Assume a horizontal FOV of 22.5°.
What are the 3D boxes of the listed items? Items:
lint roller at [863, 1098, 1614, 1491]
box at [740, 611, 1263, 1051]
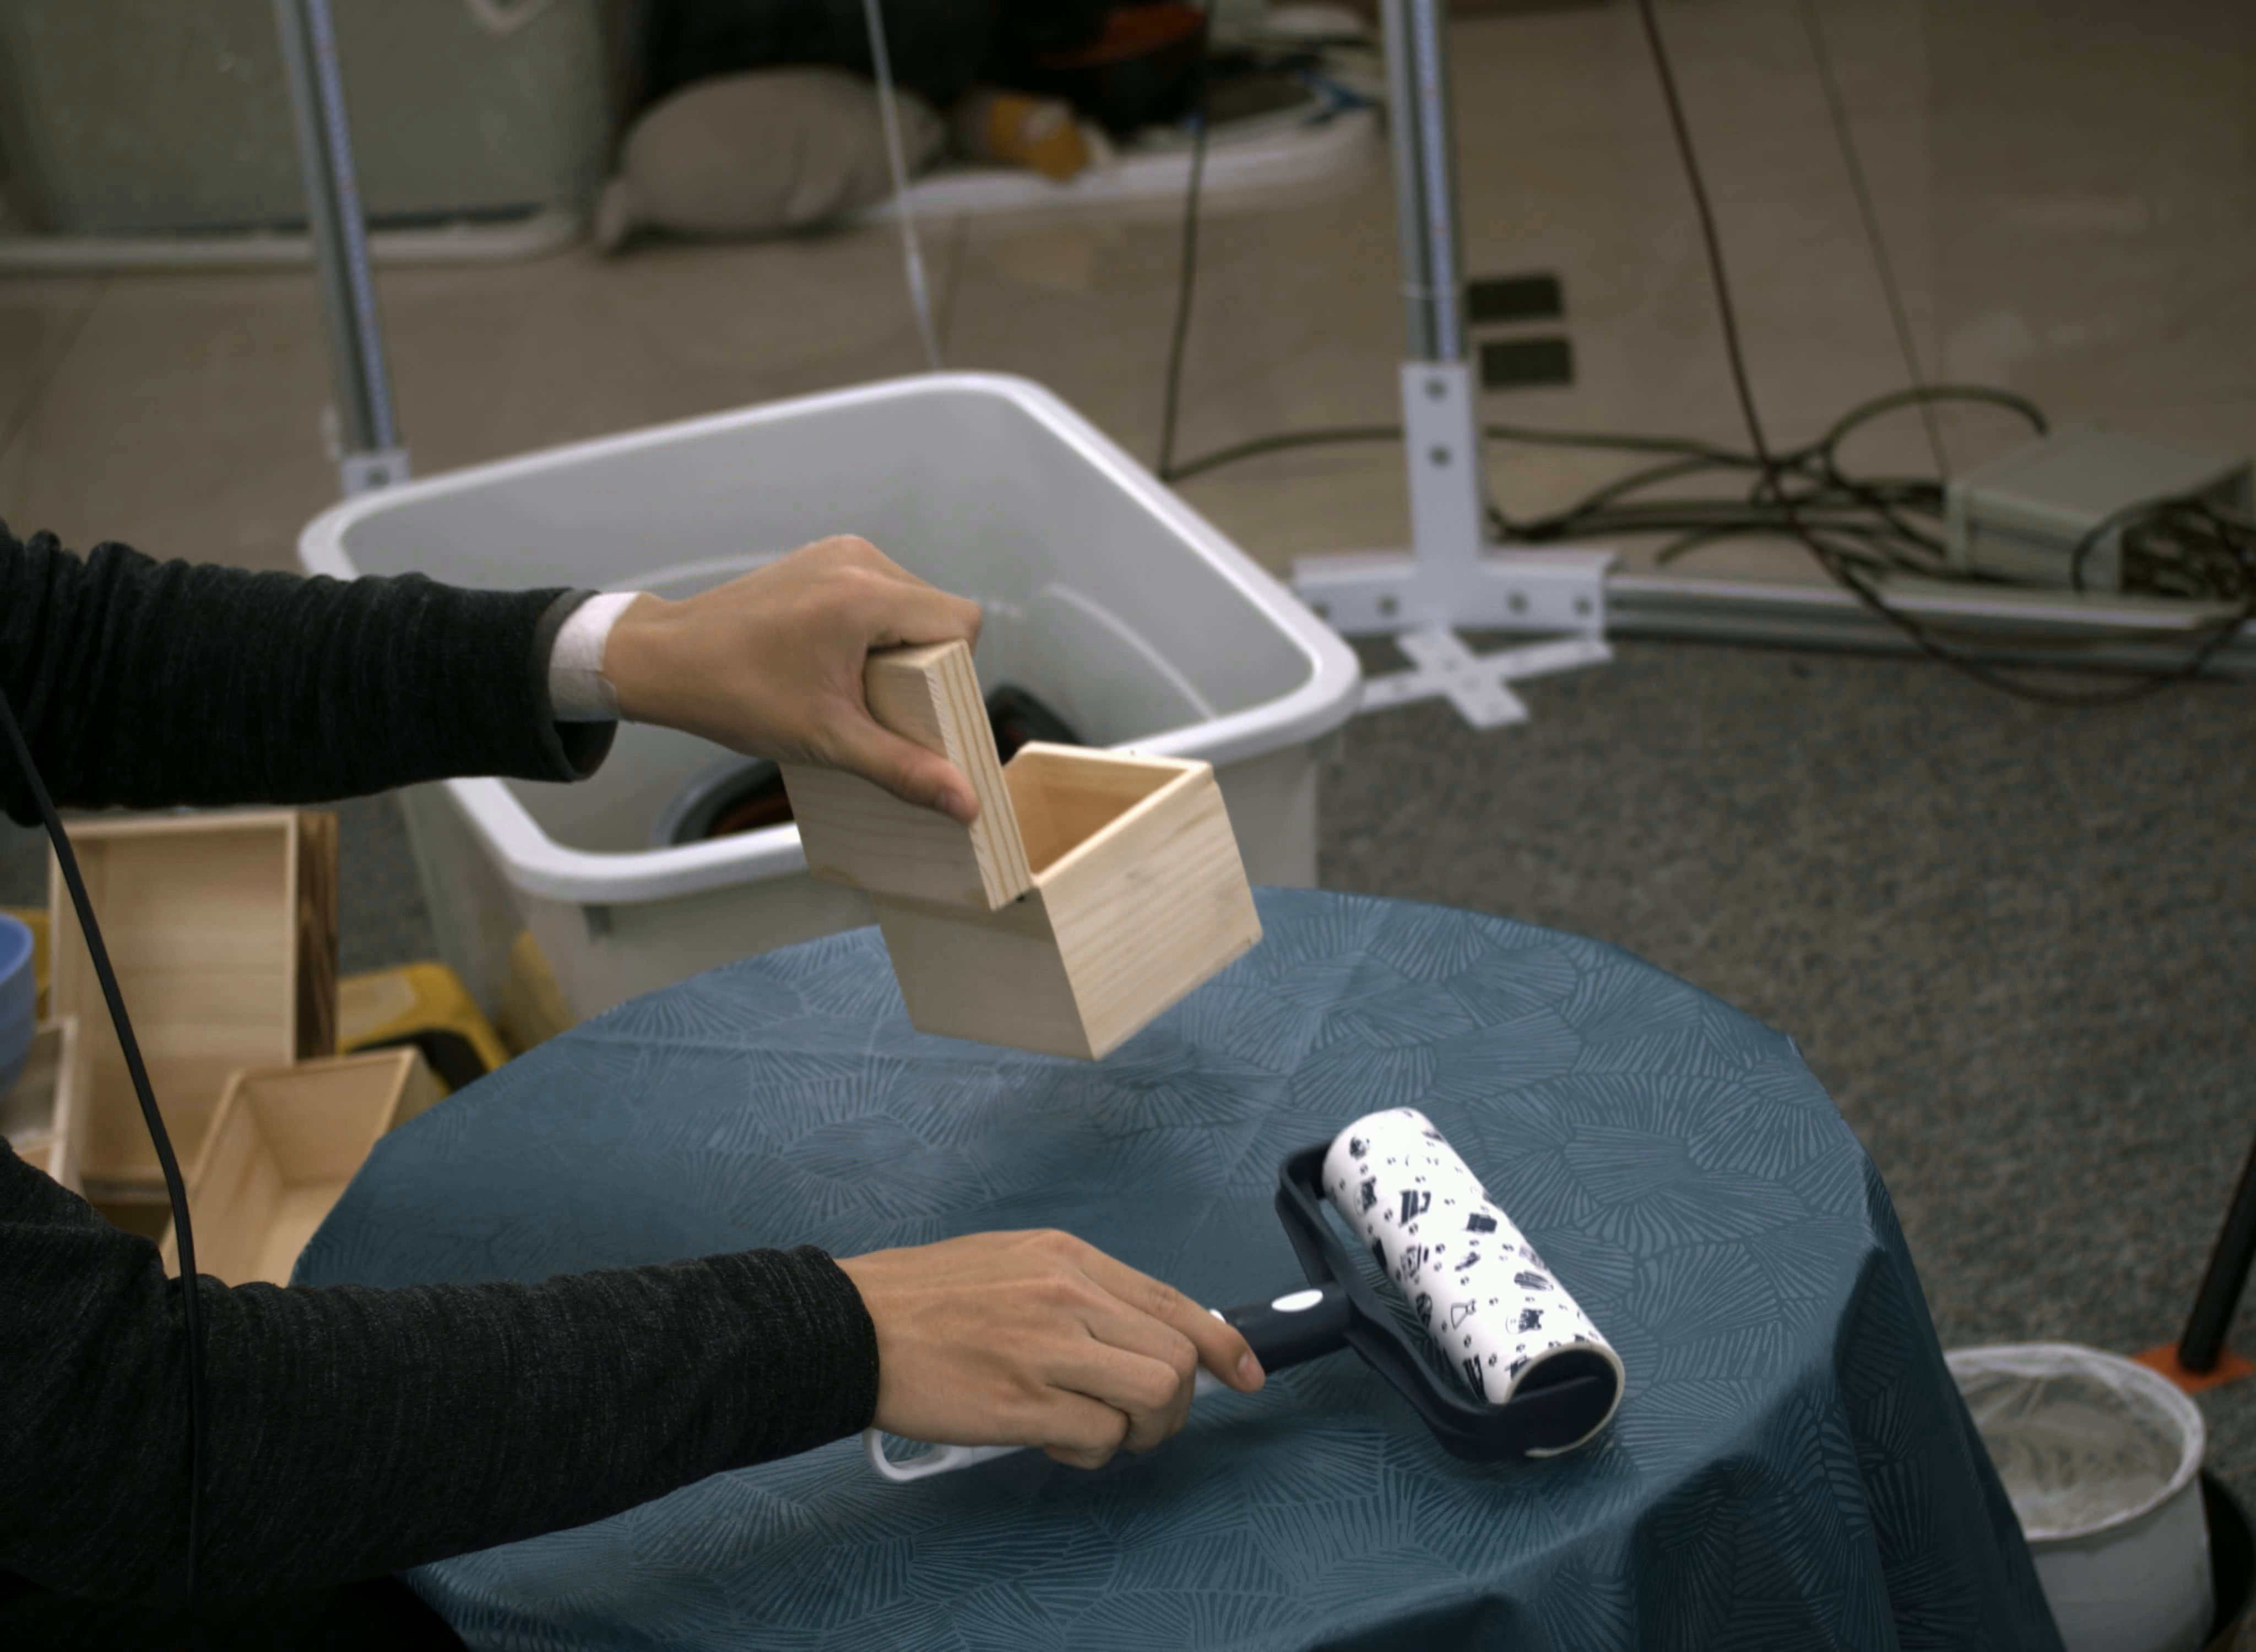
[{"bbox_3d":[0.025,0.180,1.970,0.246,0.051,0.173,-14,34,-17],"label":"lint roller"},{"bbox_3d":[-0.047,-0.017,2.158,0.102,0.187,0.132,7,34,45],"label":"box"}]
